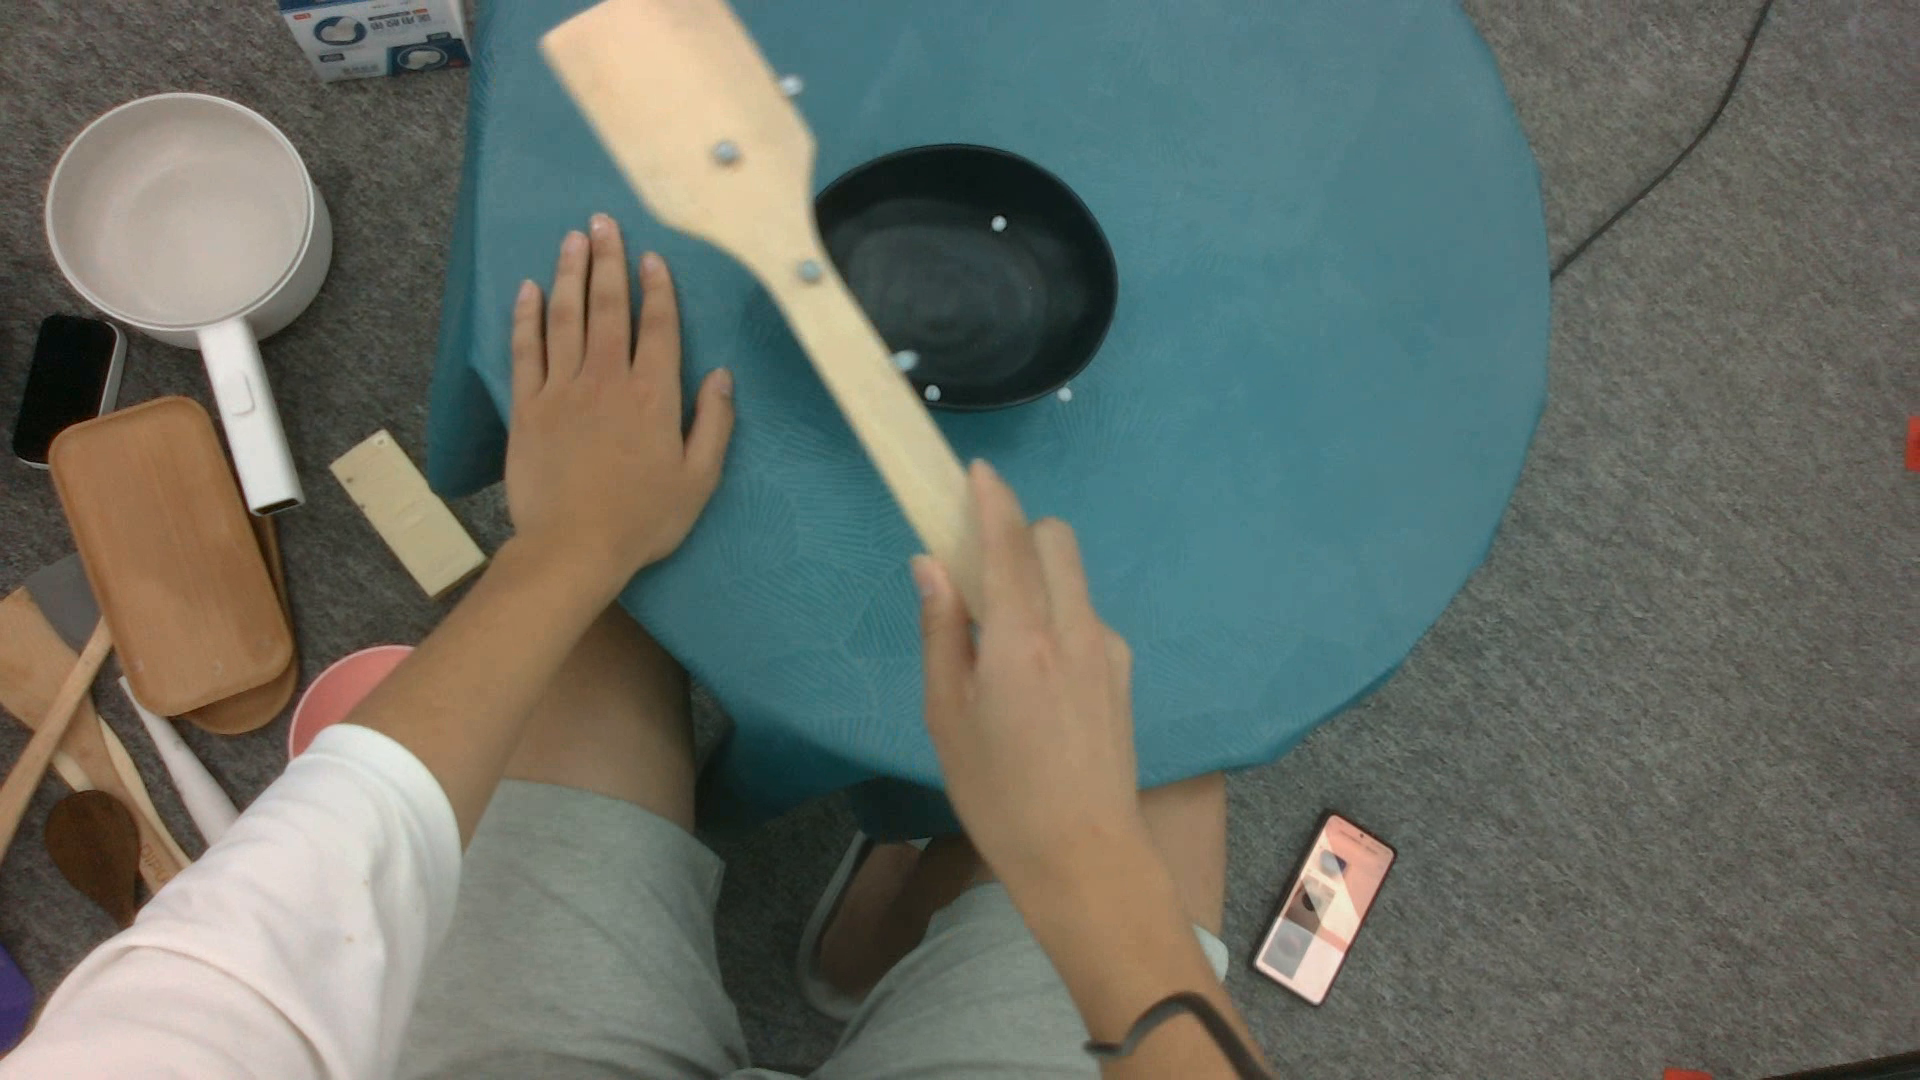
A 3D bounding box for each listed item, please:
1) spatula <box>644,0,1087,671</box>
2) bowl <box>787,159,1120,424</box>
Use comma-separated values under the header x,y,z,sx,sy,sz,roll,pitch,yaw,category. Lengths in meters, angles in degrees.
x,y,z,sx,sy,sz,roll,pitch,yaw,category
-0.028,-0.081,0.544,0.072,0.010,0.293,-28,85,-9,spatula
-0.005,-0.122,0.722,0.170,0.066,0.137,1,82,-7,bowl
